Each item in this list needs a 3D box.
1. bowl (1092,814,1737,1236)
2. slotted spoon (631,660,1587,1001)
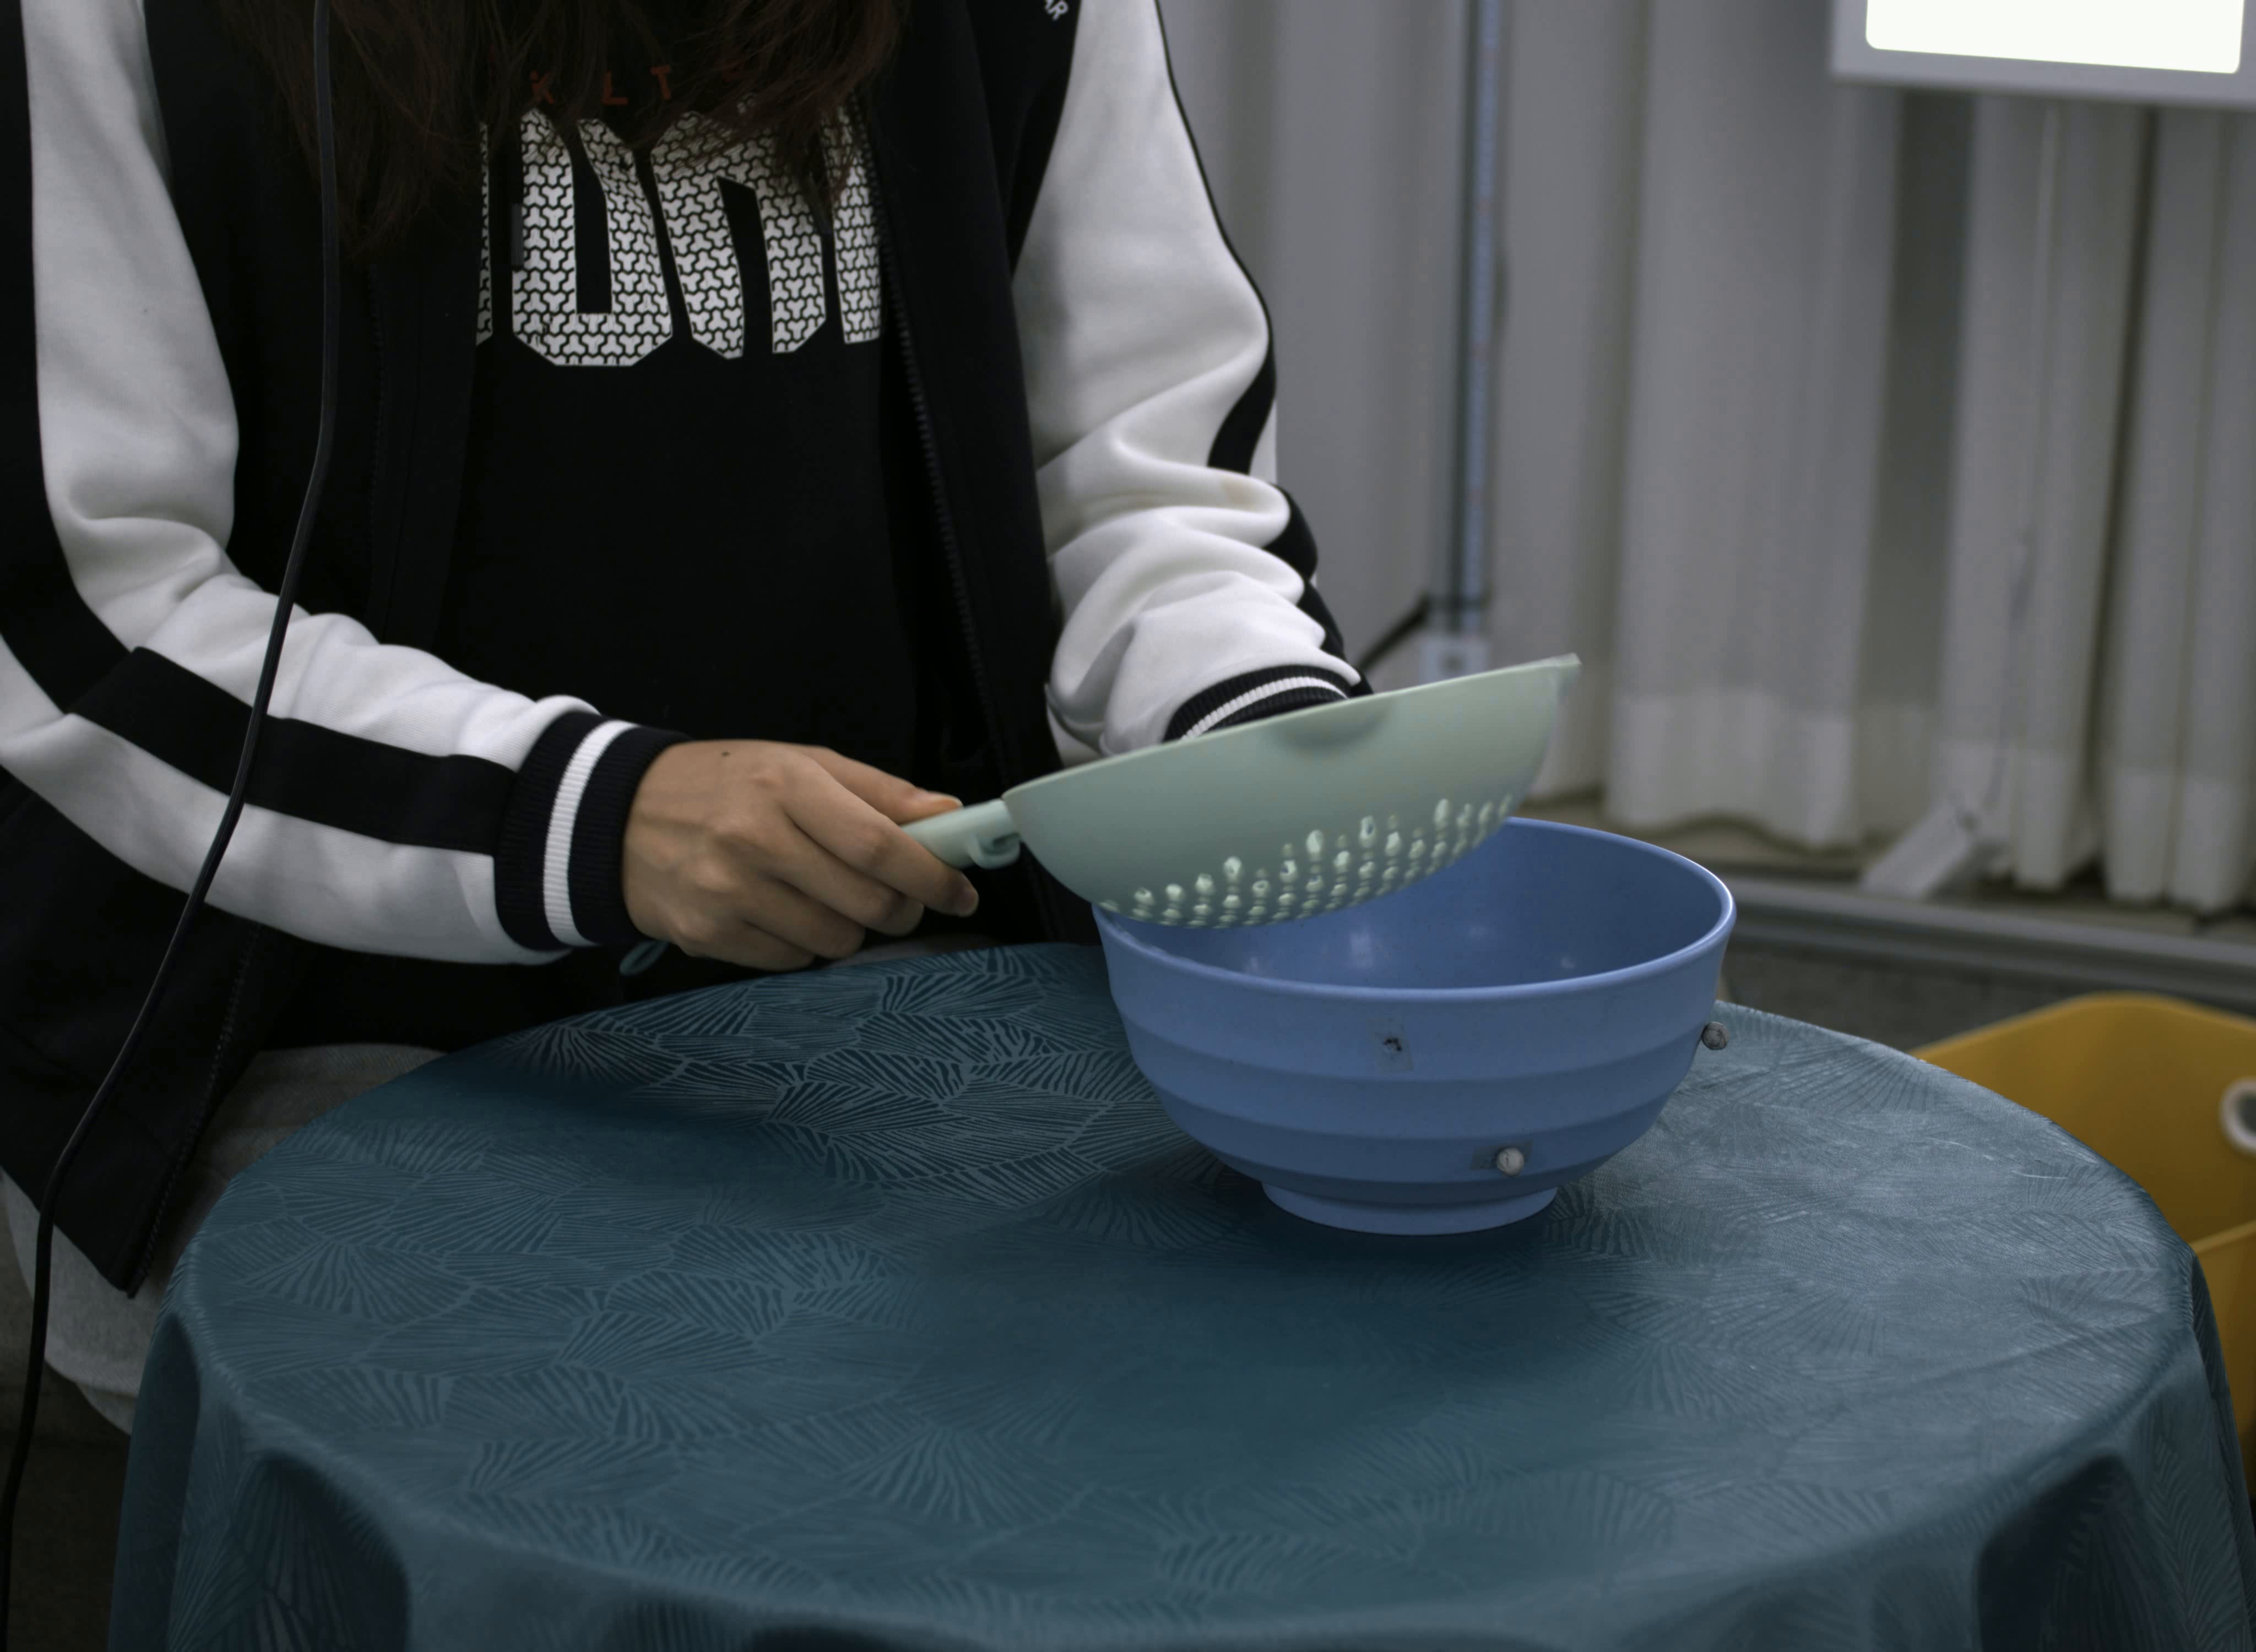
[{"bbox_3d":[0.087,0.066,1.613,0.196,0.096,0.195,0,16,1],"label":"bowl"},{"bbox_3d":[-0.025,0.005,1.621,0.355,0.075,0.170,-6,0,37],"label":"slotted spoon"}]
